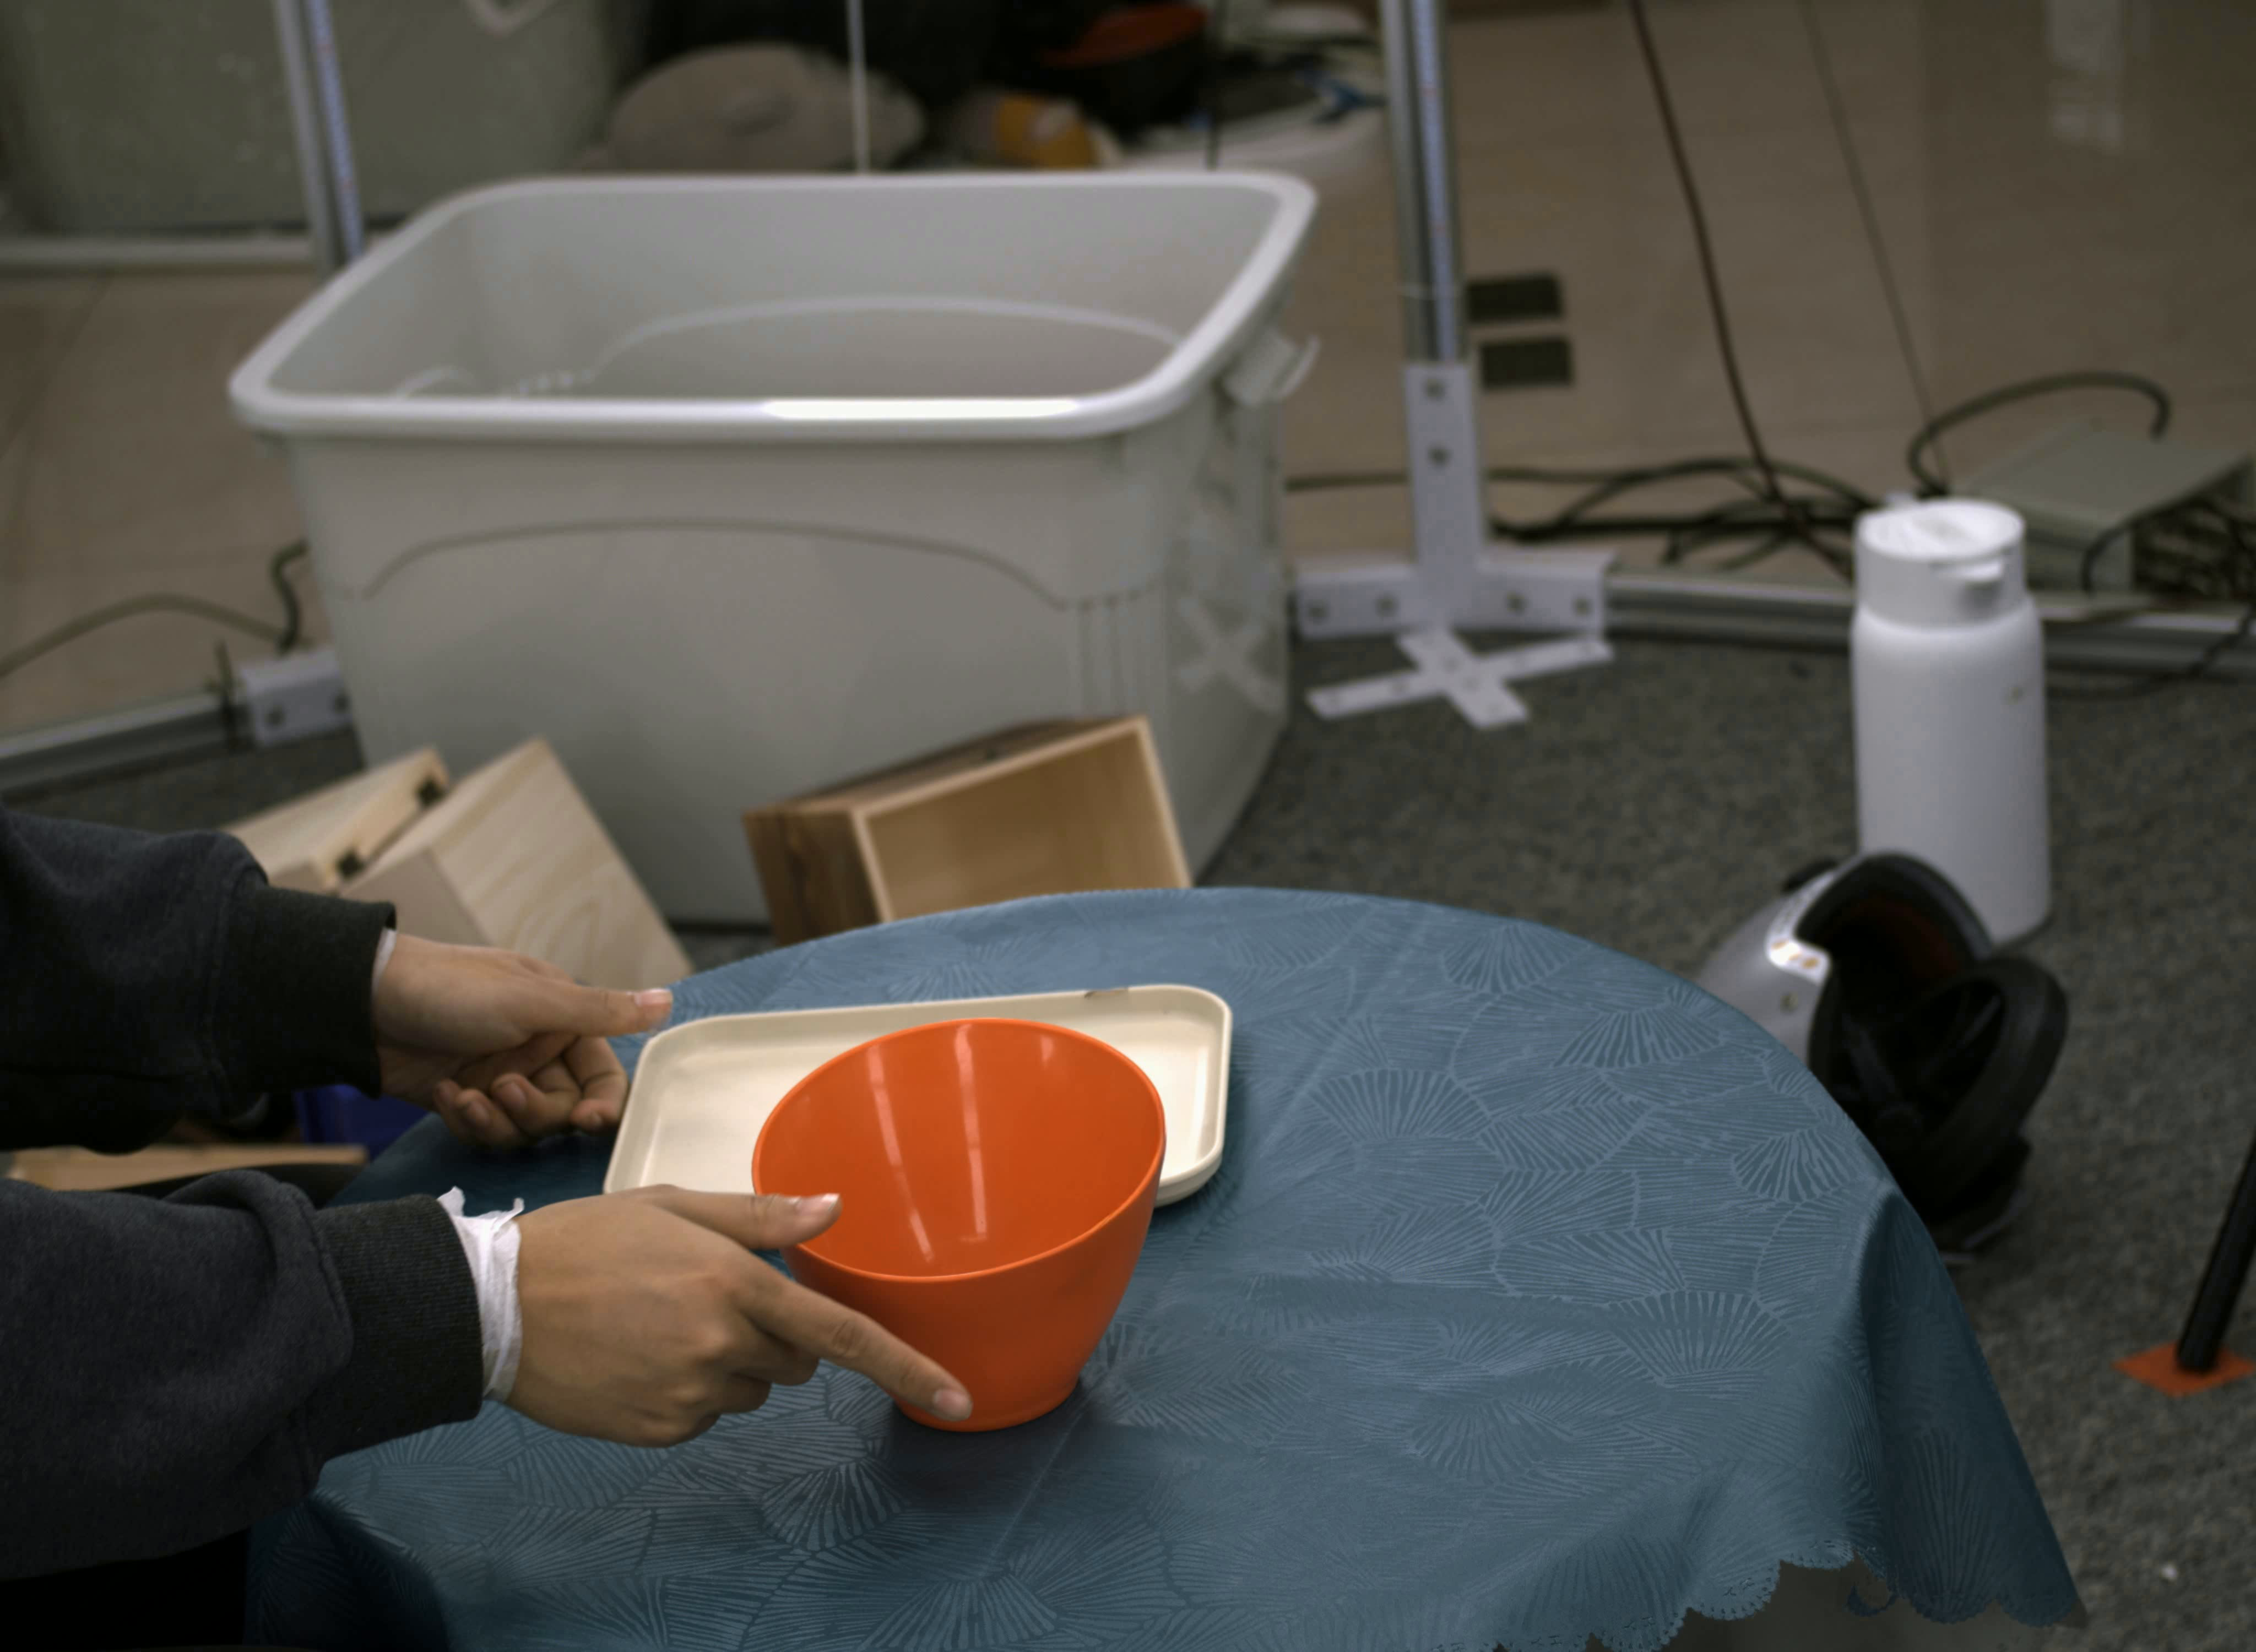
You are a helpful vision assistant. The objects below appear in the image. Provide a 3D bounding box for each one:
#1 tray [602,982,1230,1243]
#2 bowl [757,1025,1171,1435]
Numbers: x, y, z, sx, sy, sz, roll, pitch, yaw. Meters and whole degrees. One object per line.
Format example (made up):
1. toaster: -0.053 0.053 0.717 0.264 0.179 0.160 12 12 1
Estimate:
1. tray: -0.079 0.112 2.203 0.239 0.018 0.169 -4 26 5
2. bowl: -0.055 0.150 2.016 0.148 0.106 0.146 -4 24 2
